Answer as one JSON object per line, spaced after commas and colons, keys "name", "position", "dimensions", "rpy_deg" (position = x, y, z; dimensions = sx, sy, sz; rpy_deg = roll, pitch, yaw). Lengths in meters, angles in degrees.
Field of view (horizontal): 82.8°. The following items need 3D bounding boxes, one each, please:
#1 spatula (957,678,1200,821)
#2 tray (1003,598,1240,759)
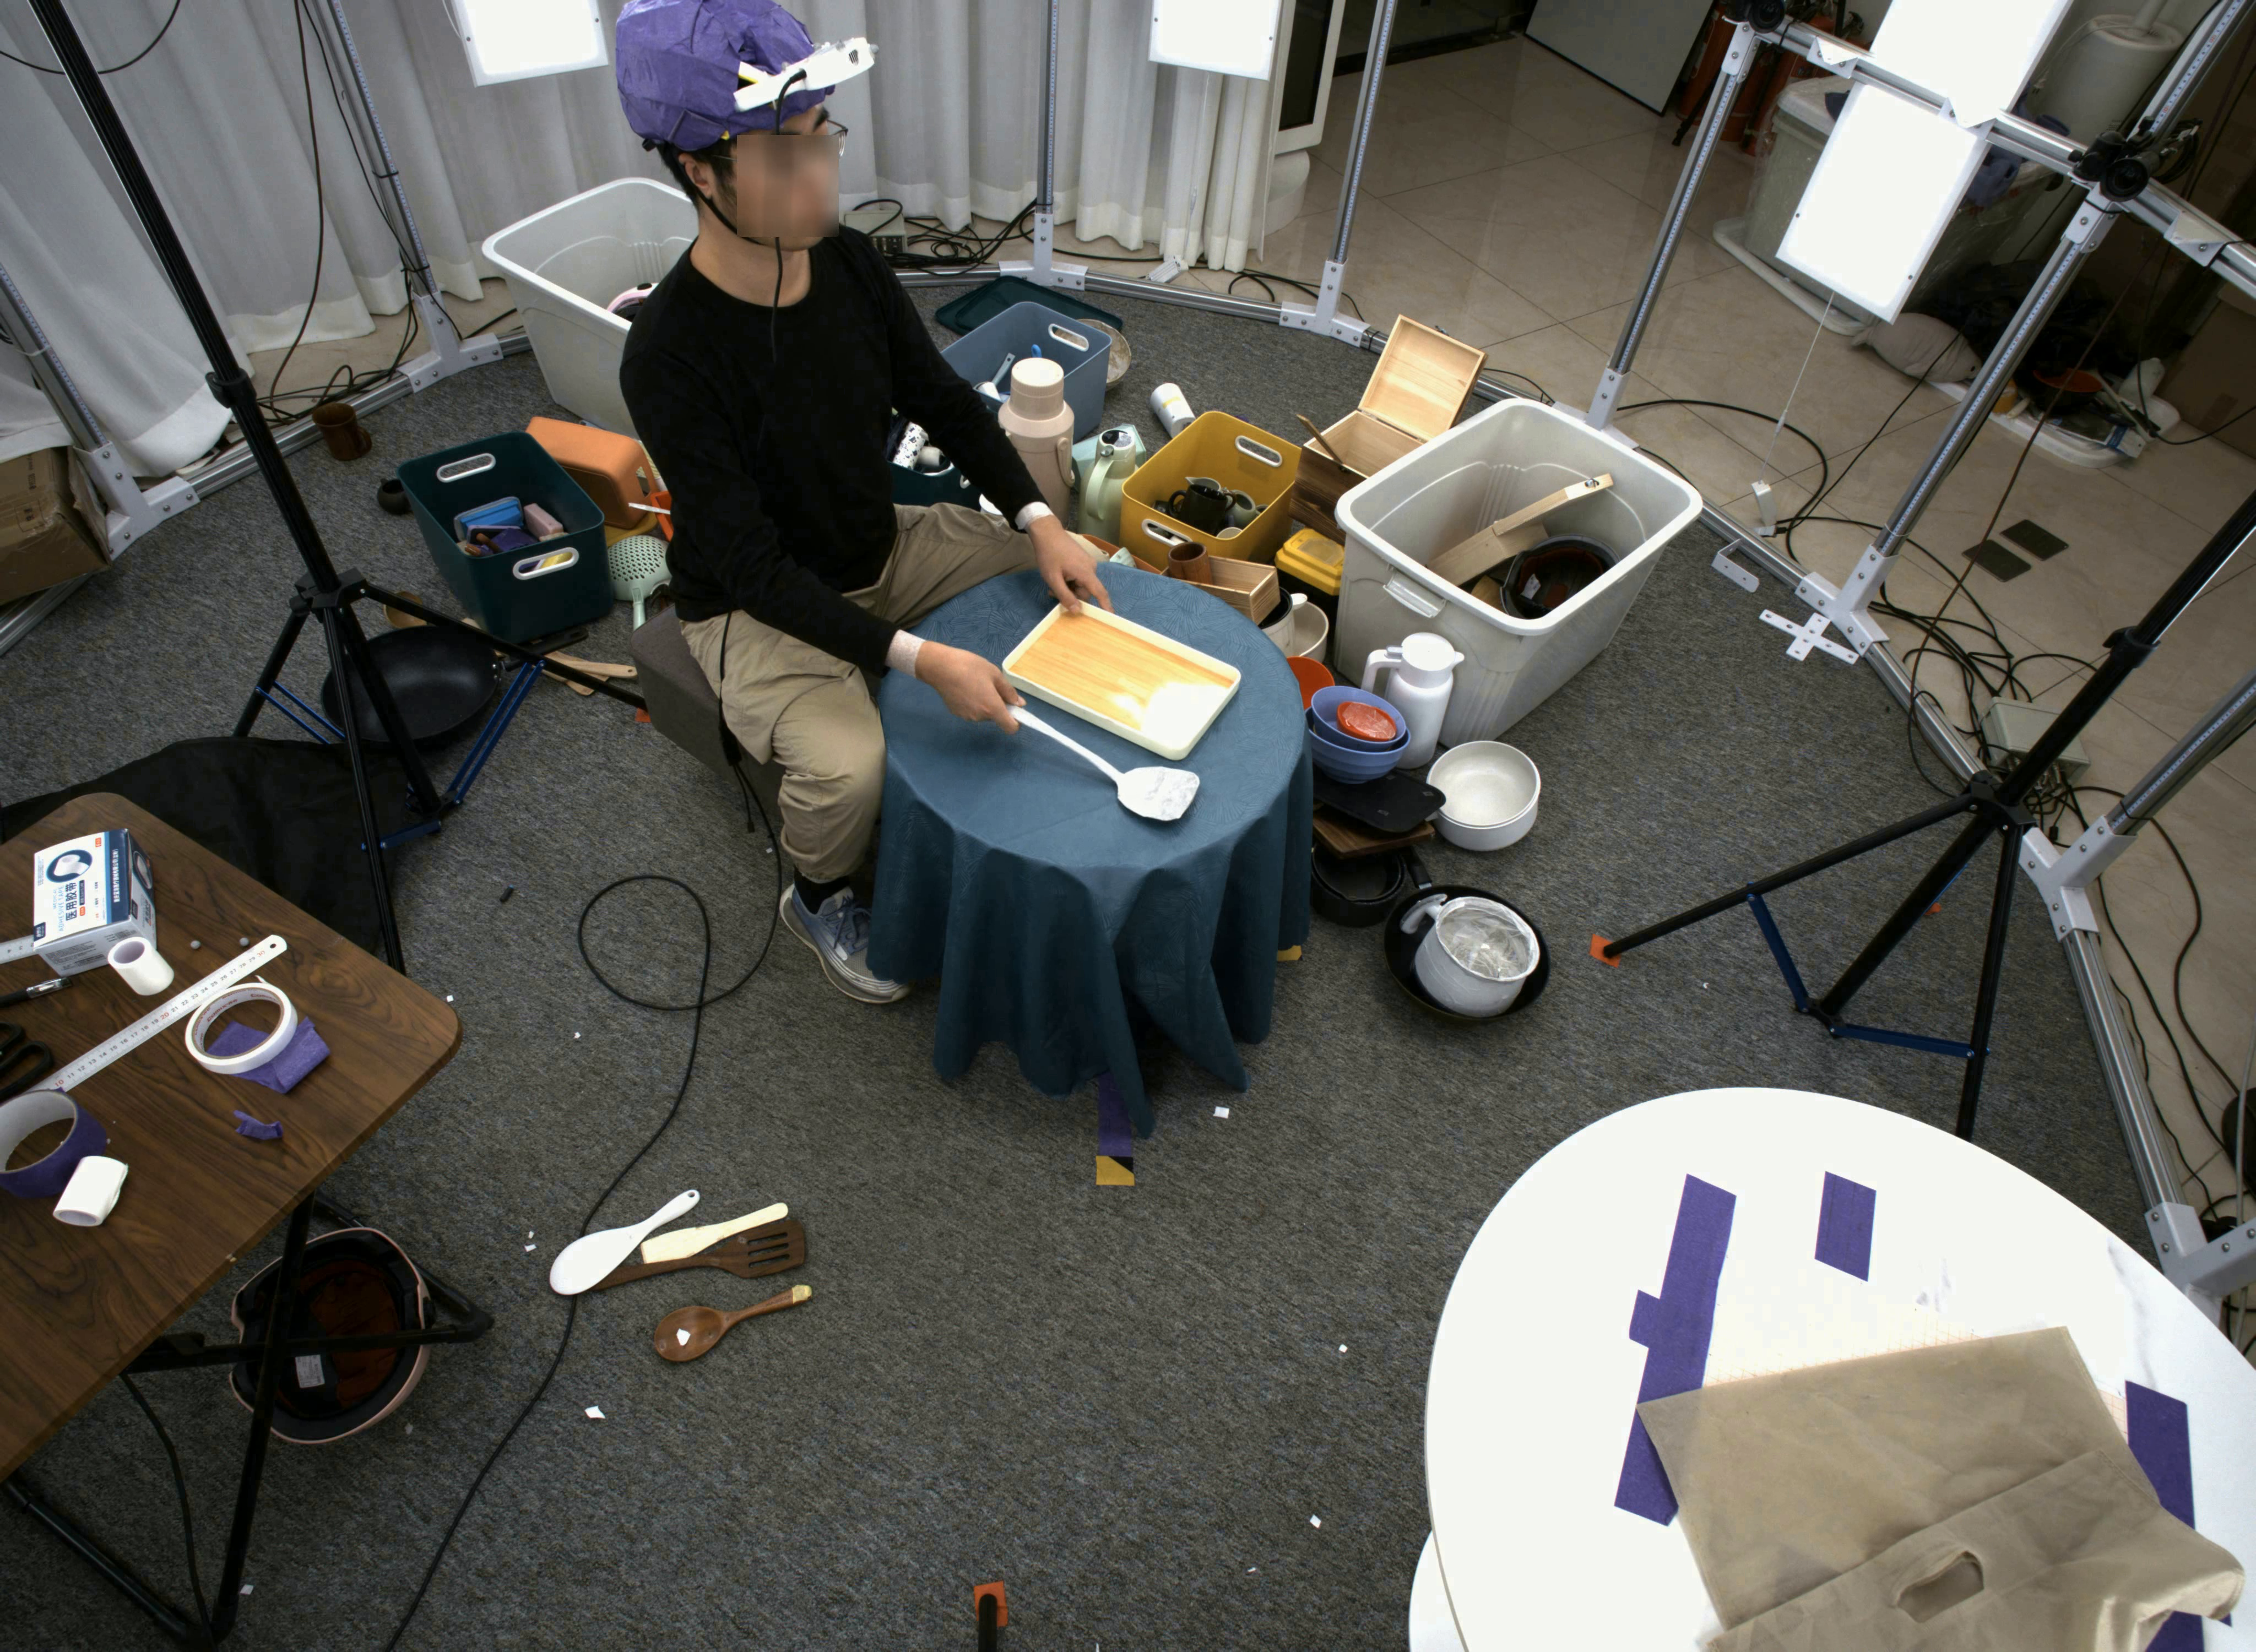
{"name": "spatula", "position": [-0.076, -0.114, 1.709], "dimensions": [0.366, 0.044, 0.100], "rpy_deg": [30, 53, 5]}
{"name": "tray", "position": [-0.009, -0.216, 1.839], "dimensions": [0.303, 0.027, 0.194], "rpy_deg": [26, 52, 18]}
